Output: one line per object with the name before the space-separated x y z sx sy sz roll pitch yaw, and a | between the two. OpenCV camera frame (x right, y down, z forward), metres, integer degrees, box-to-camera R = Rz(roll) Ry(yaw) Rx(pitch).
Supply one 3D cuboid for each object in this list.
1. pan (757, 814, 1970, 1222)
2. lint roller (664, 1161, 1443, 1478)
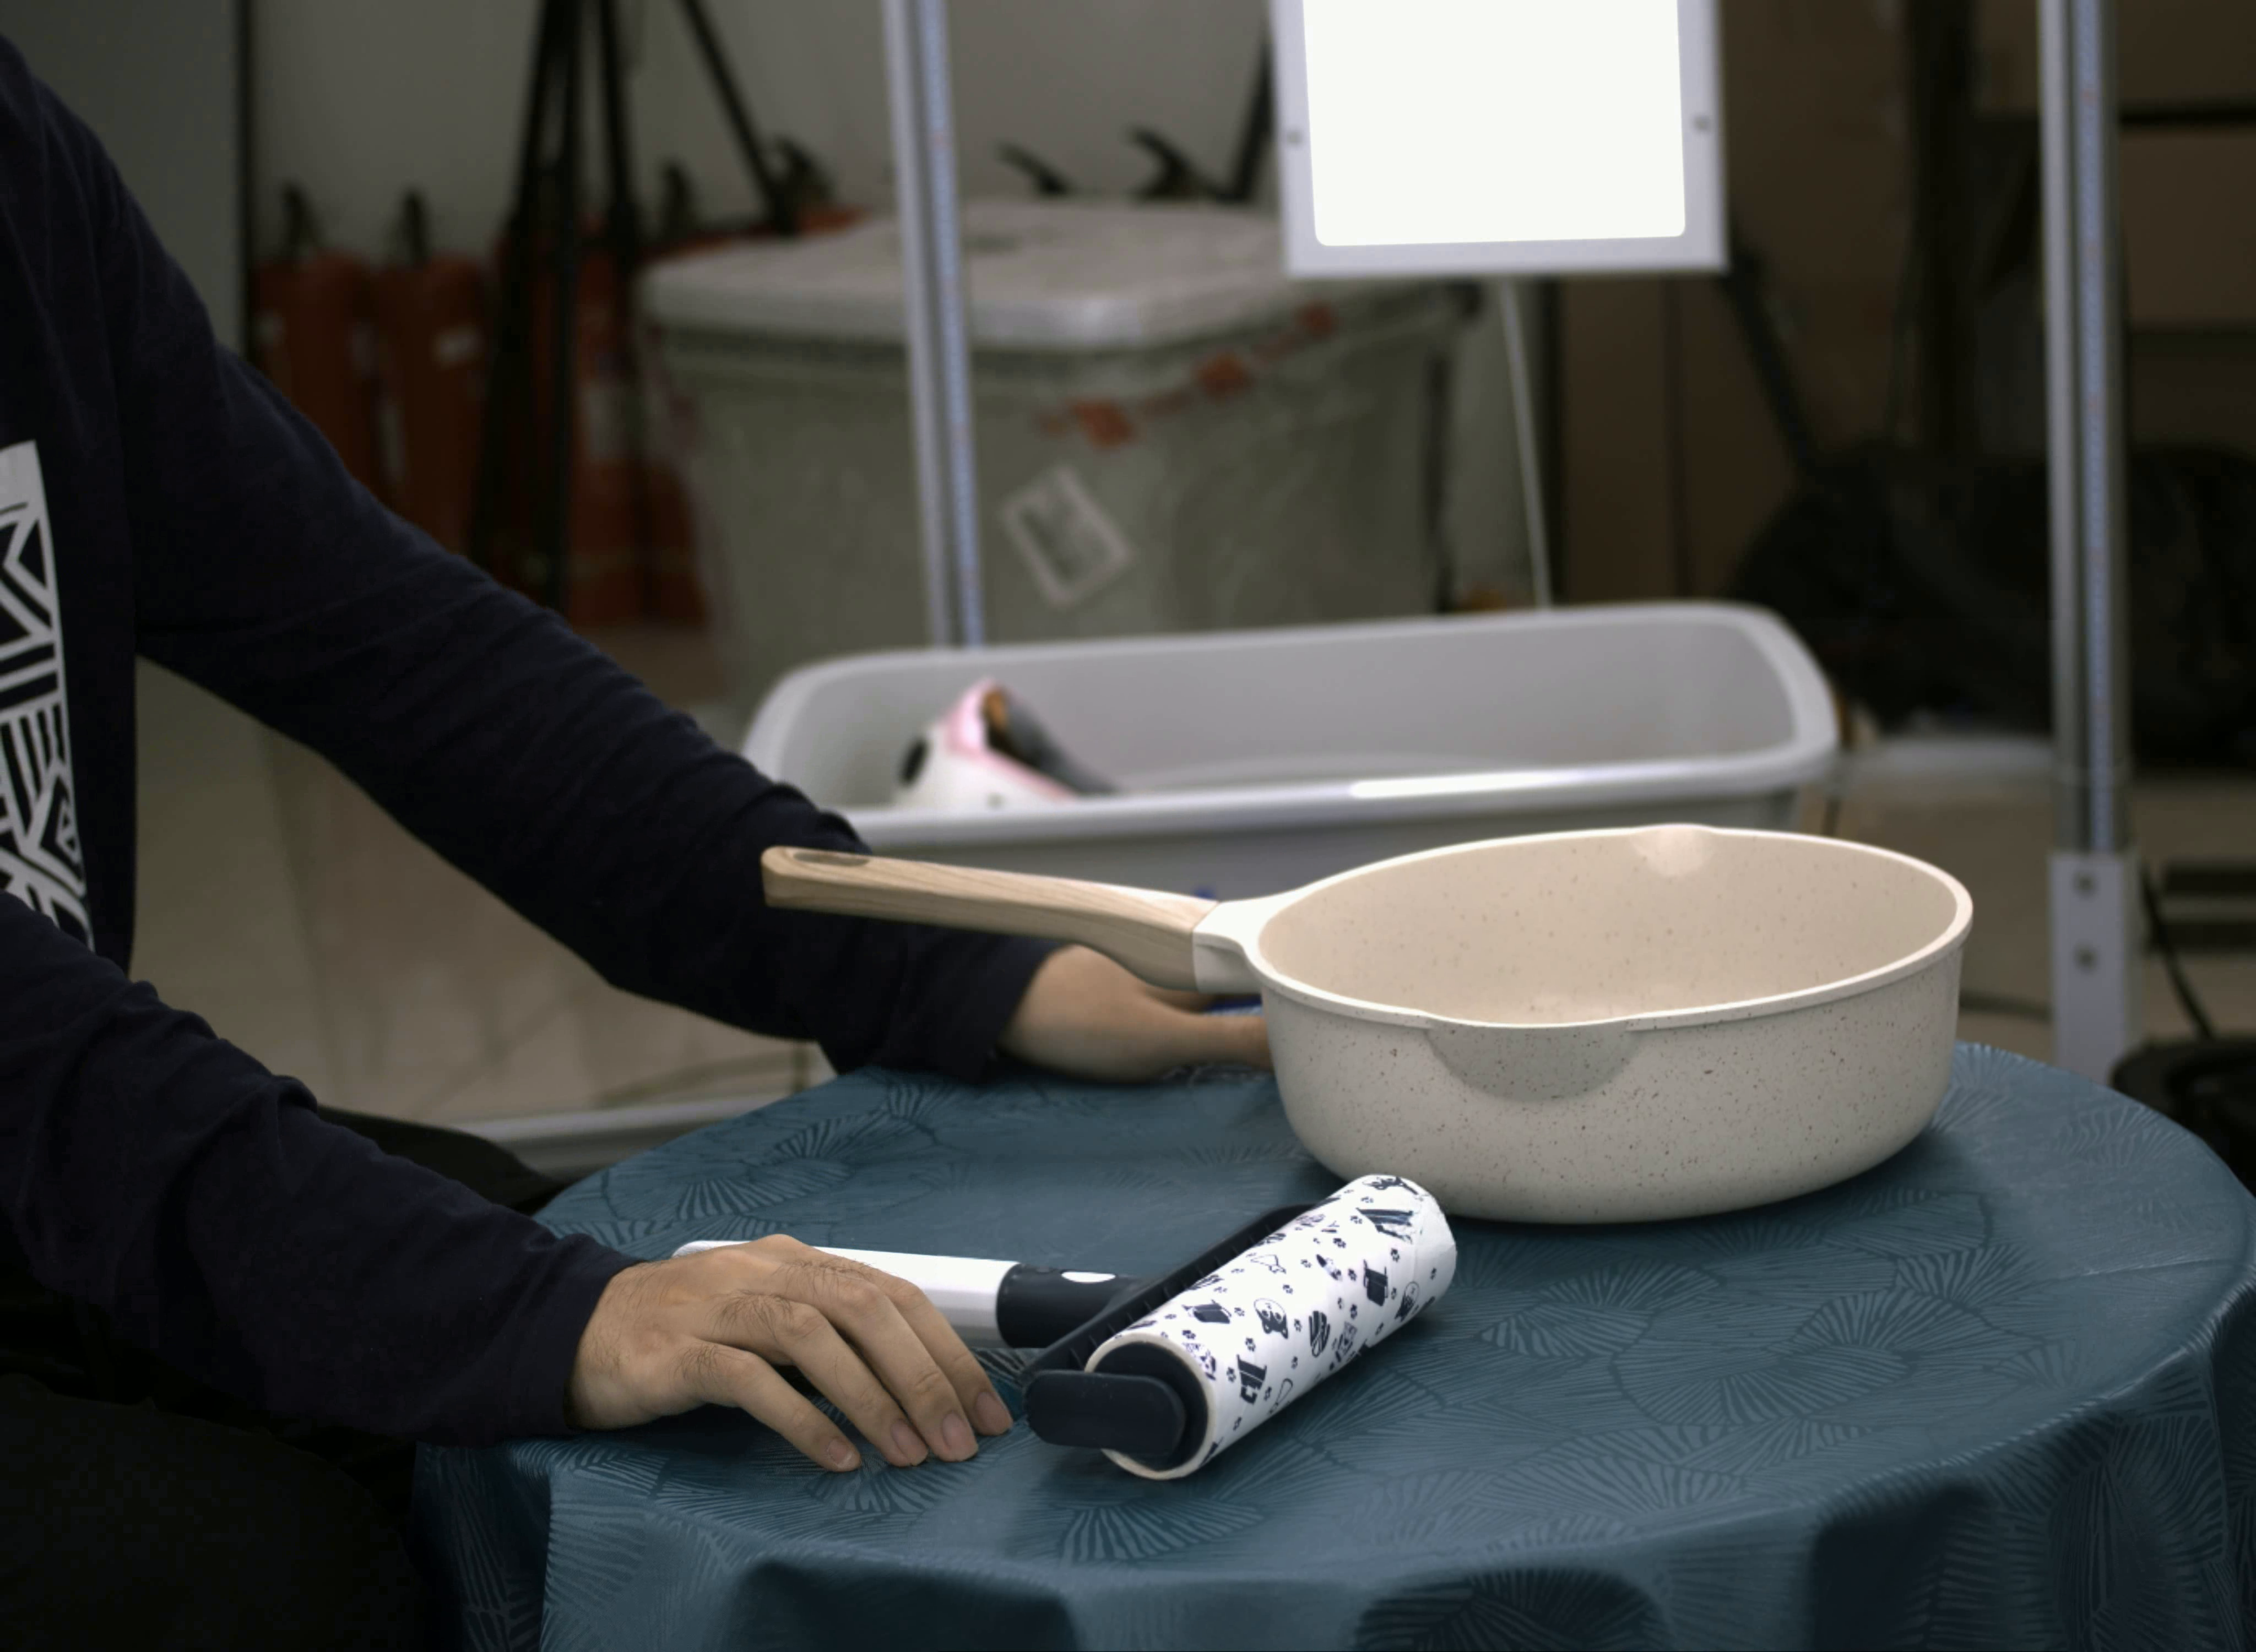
pan | 0.080 0.061 1.930 0.440 0.102 0.259 -1 16 18
lint roller | -0.044 0.150 1.738 0.252 0.050 0.172 0 16 31
